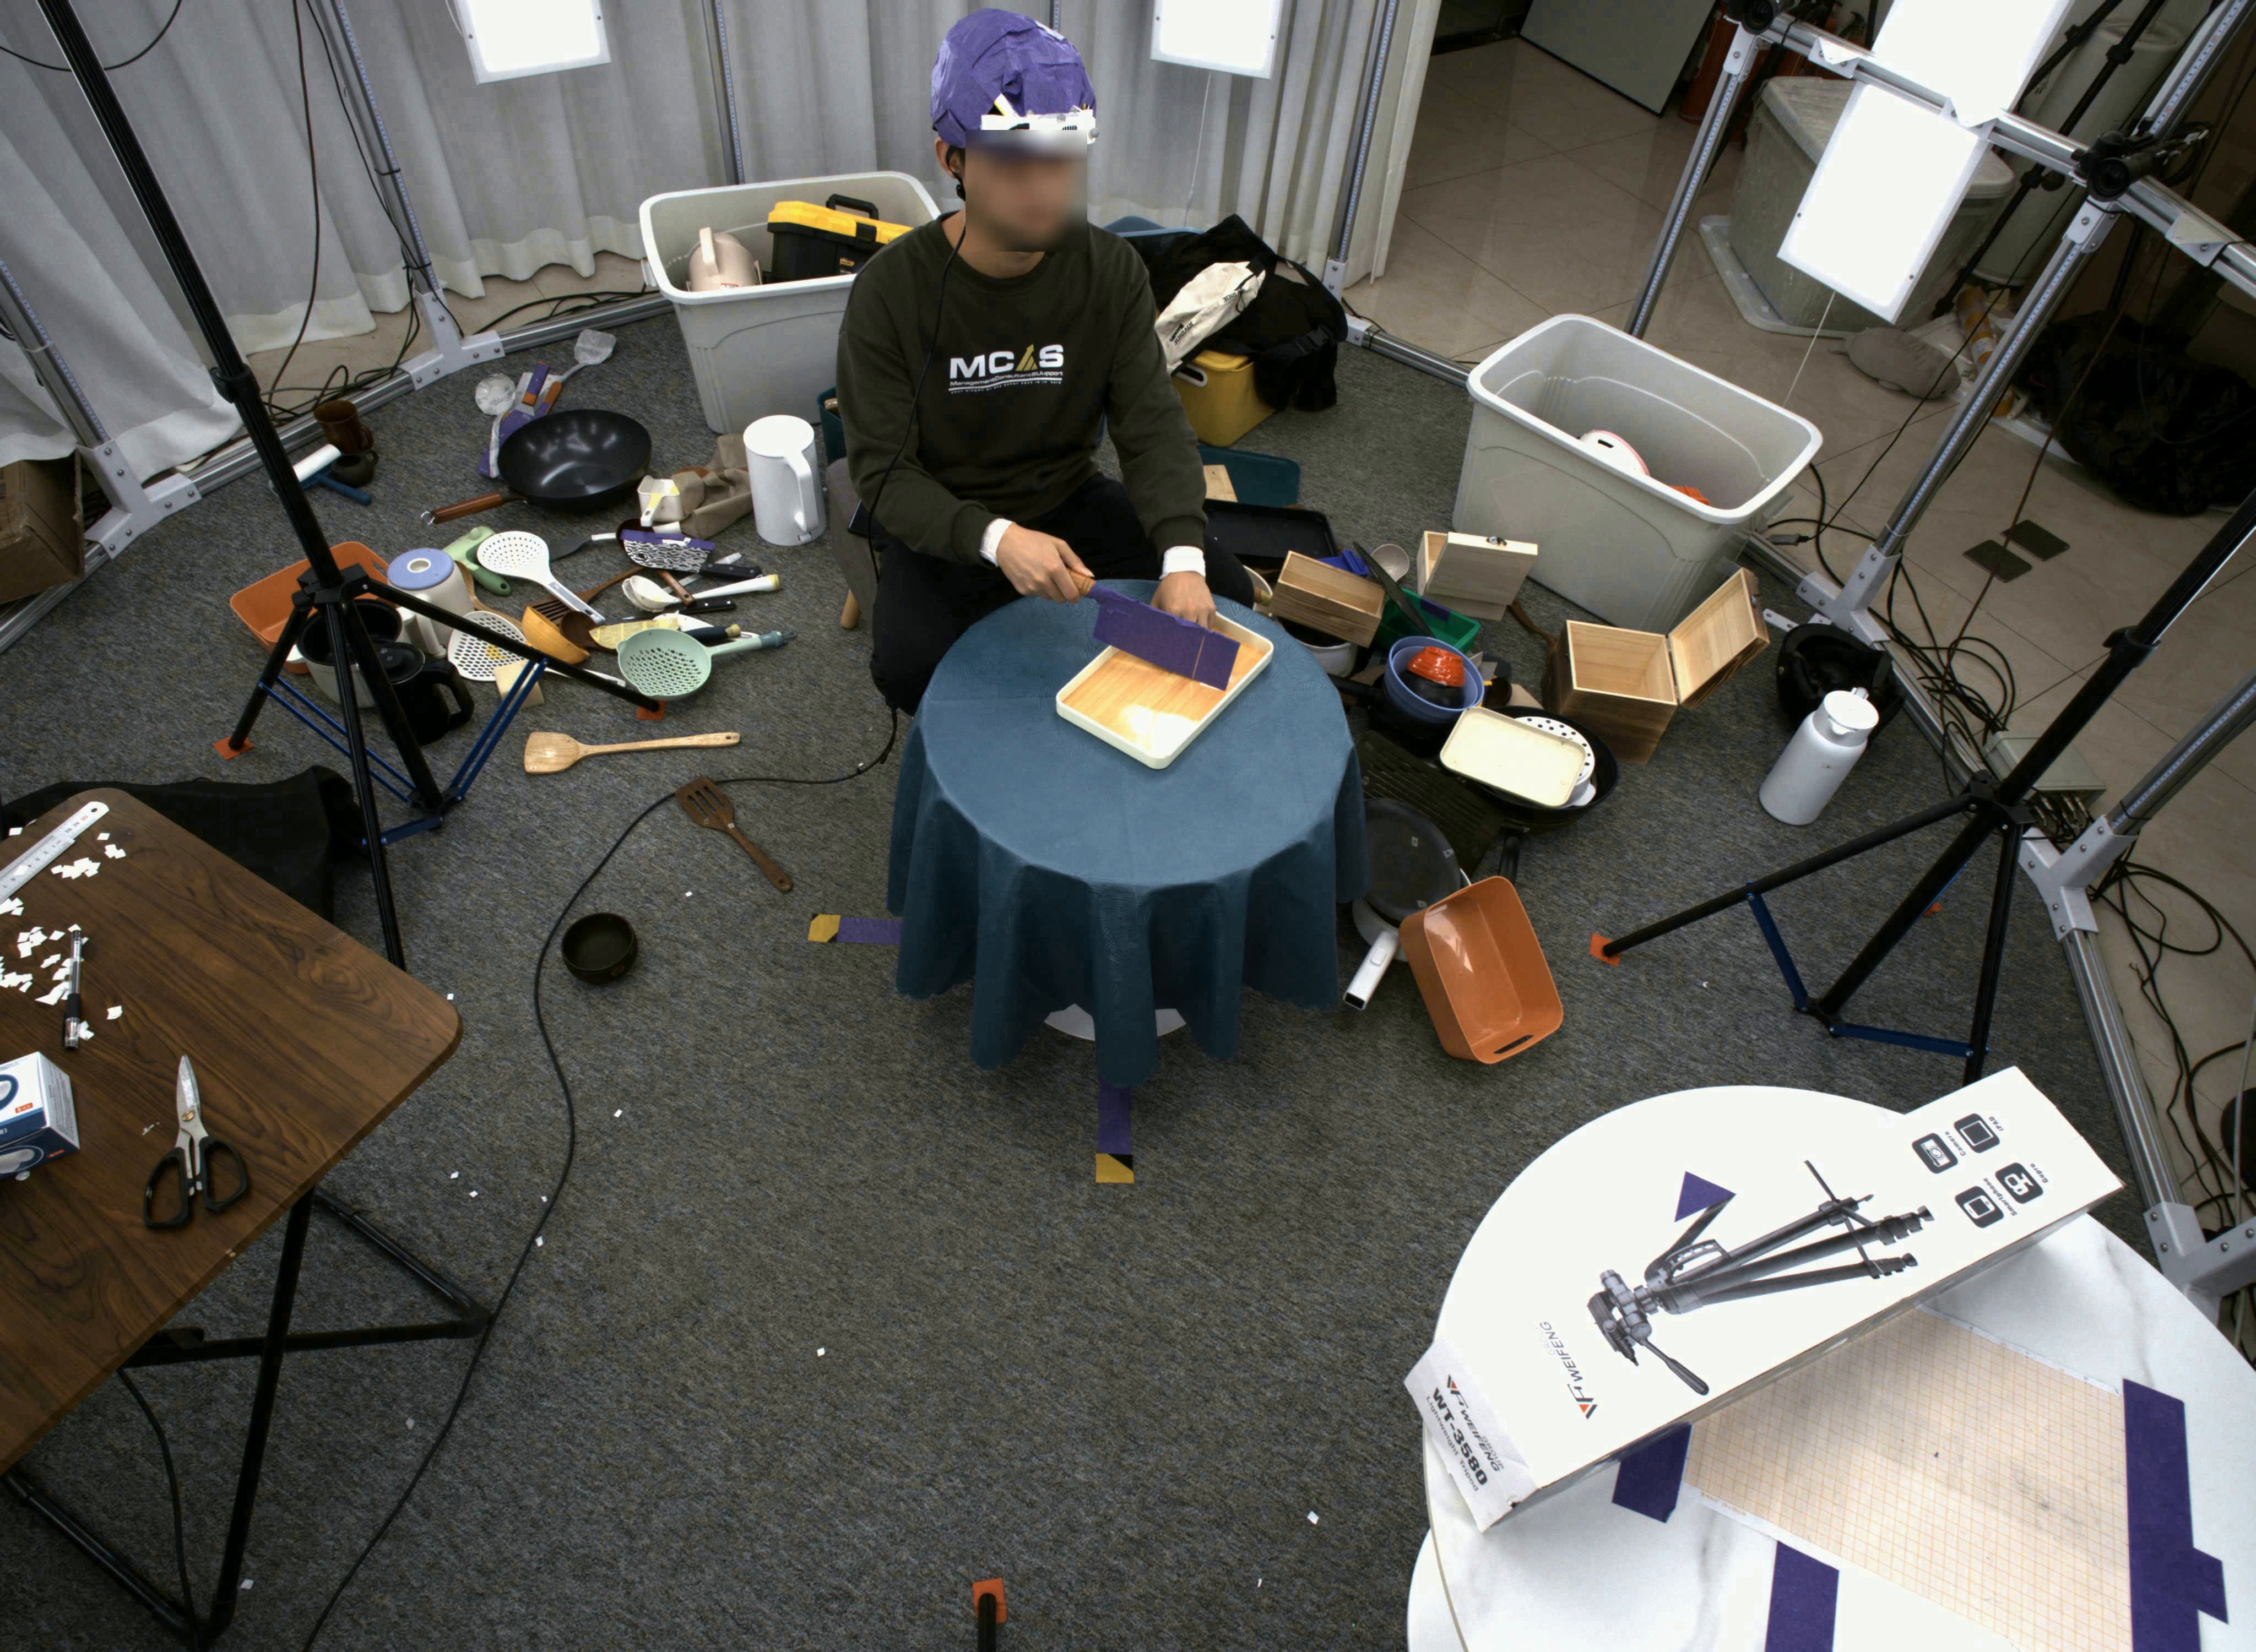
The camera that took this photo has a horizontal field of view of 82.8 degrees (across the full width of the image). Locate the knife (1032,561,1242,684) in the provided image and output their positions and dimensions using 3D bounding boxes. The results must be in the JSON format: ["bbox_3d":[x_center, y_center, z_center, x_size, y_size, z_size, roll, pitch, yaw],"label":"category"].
[{"bbox_3d":[0.005,-0.283,1.822,0.316,0.101,0.033,23,41,9],"label":"knife"}]

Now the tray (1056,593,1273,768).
[{"bbox_3d":[0.056,-0.215,1.840,0.194,0.027,0.304,30,54,21],"label":"tray"}]
